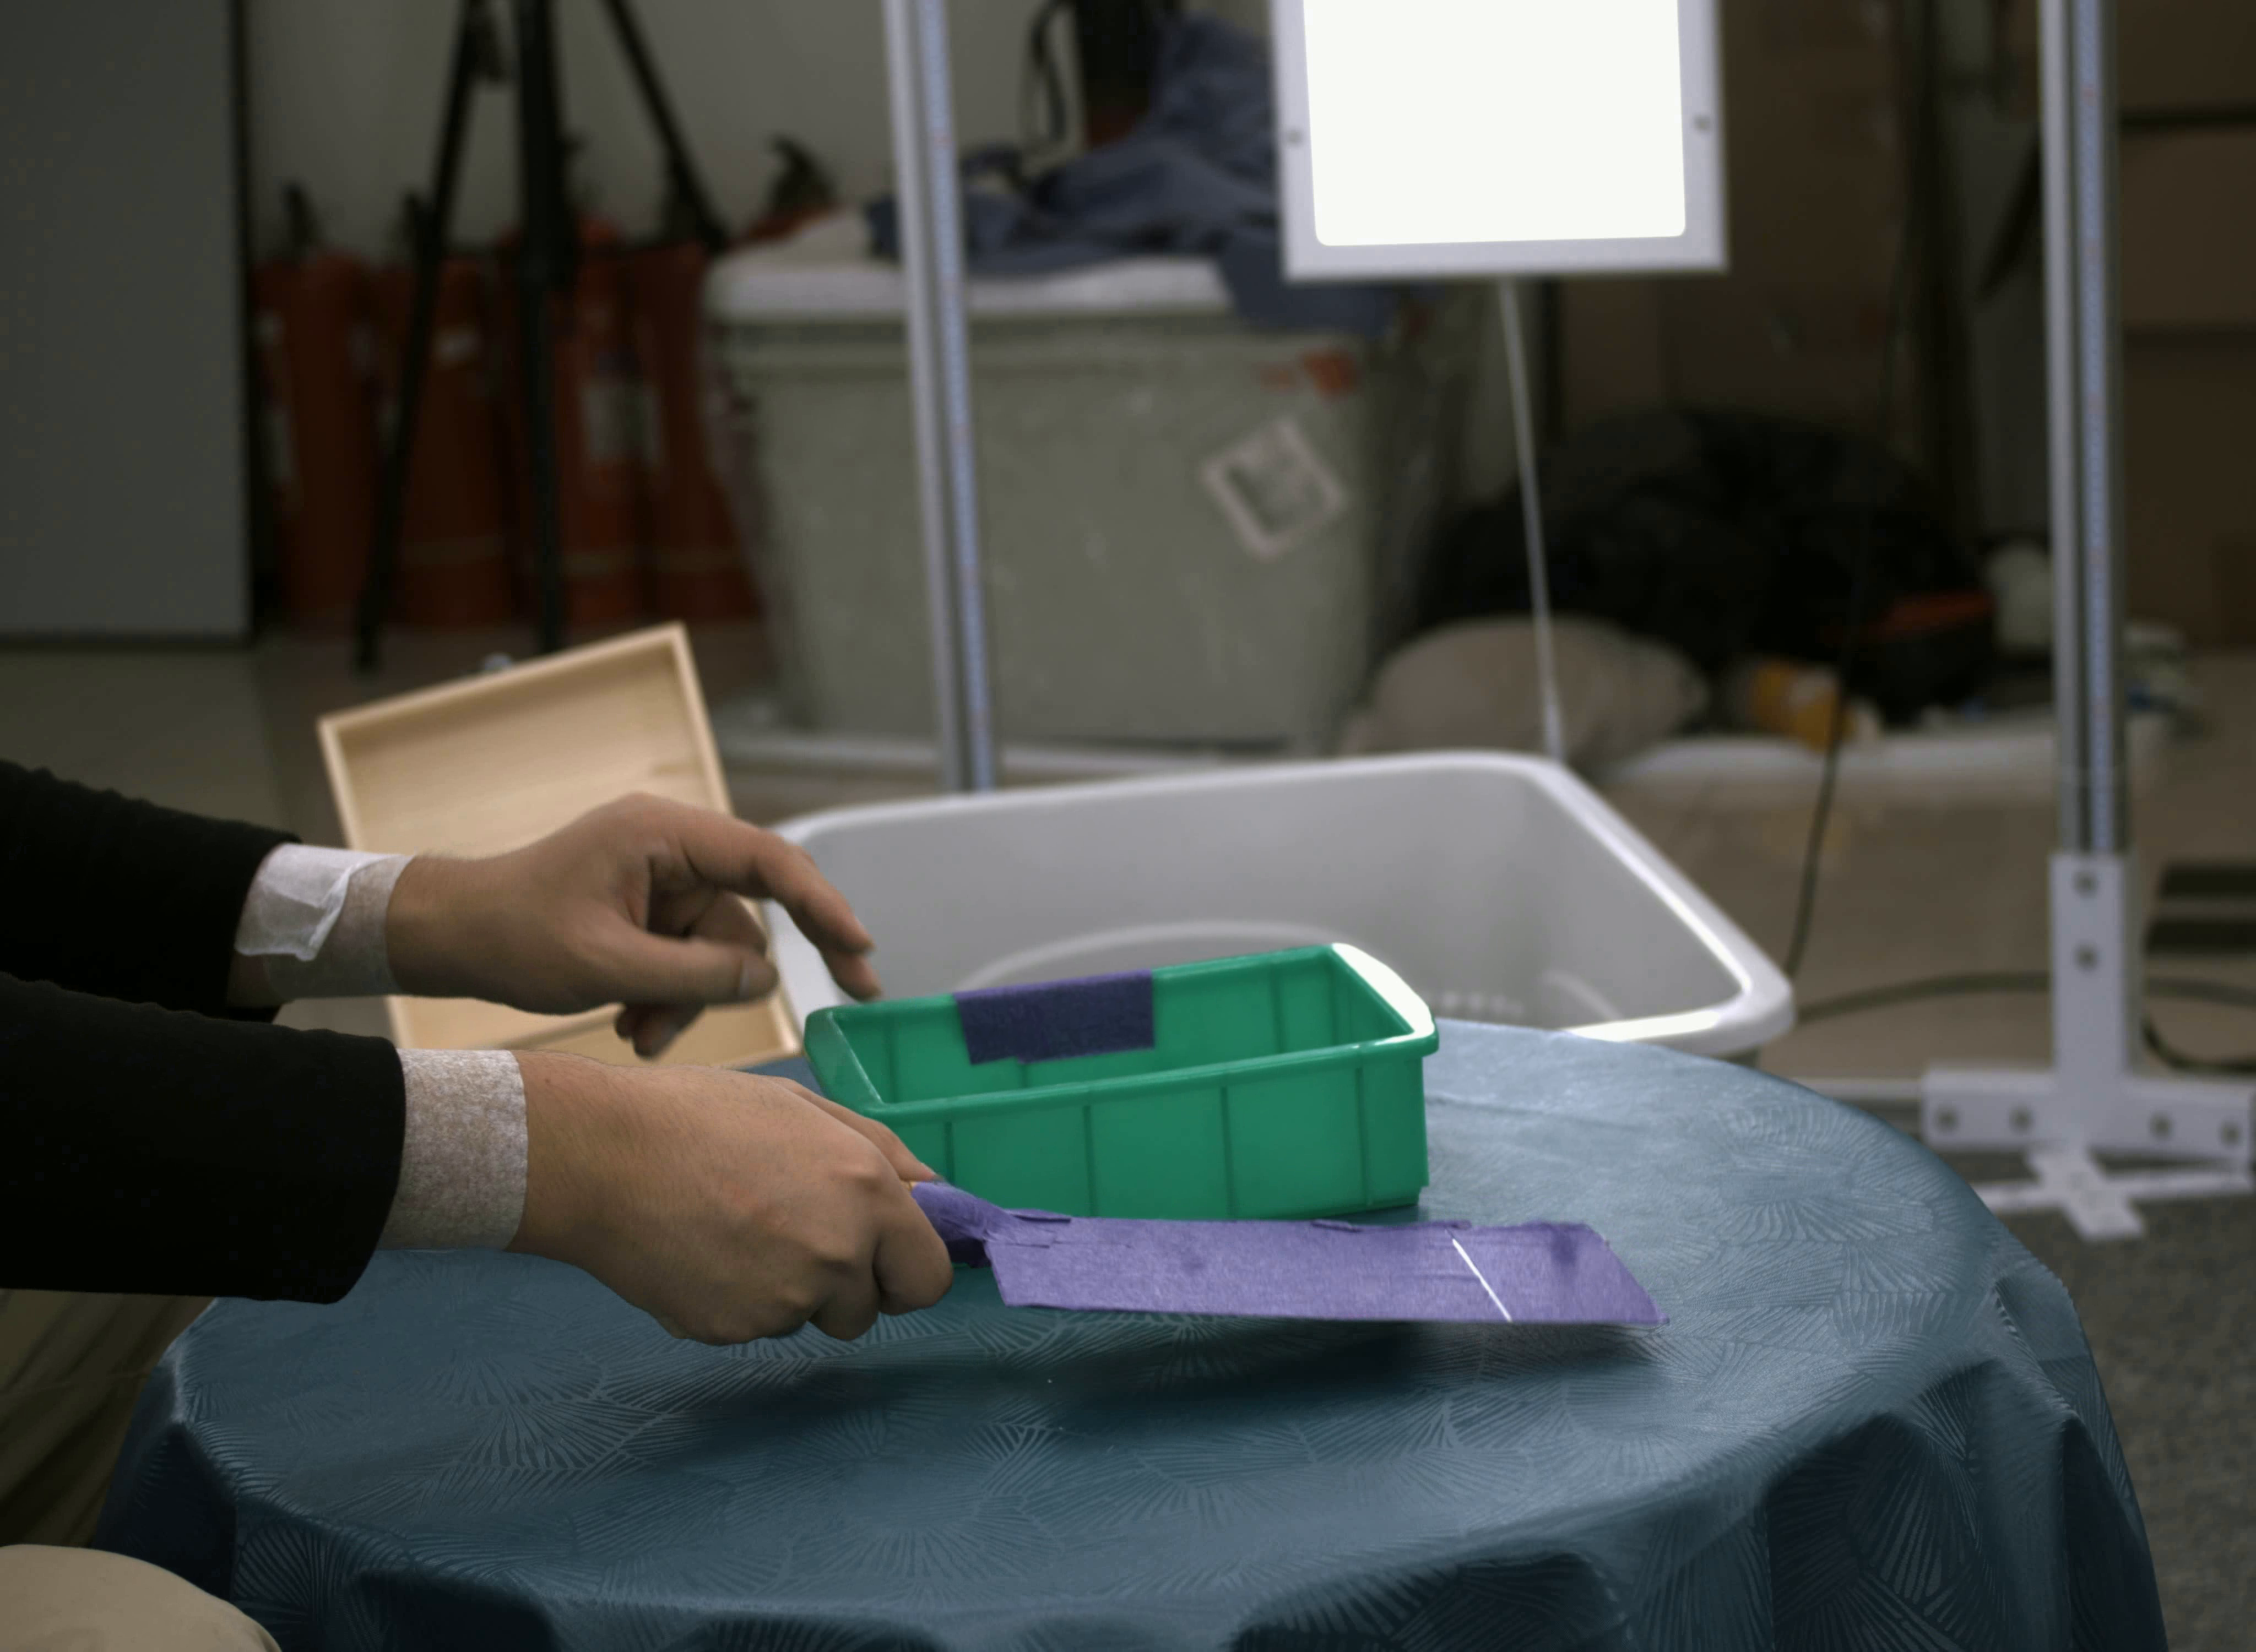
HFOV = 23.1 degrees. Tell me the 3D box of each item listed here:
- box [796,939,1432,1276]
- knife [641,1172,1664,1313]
[{"bbox_3d":[-0.004,0.096,1.891,0.208,0.065,0.139,-9,13,-9],"label":"box"},{"bbox_3d":[0.008,0.130,1.712,0.312,0.032,0.104,-1,13,-7],"label":"knife"}]
